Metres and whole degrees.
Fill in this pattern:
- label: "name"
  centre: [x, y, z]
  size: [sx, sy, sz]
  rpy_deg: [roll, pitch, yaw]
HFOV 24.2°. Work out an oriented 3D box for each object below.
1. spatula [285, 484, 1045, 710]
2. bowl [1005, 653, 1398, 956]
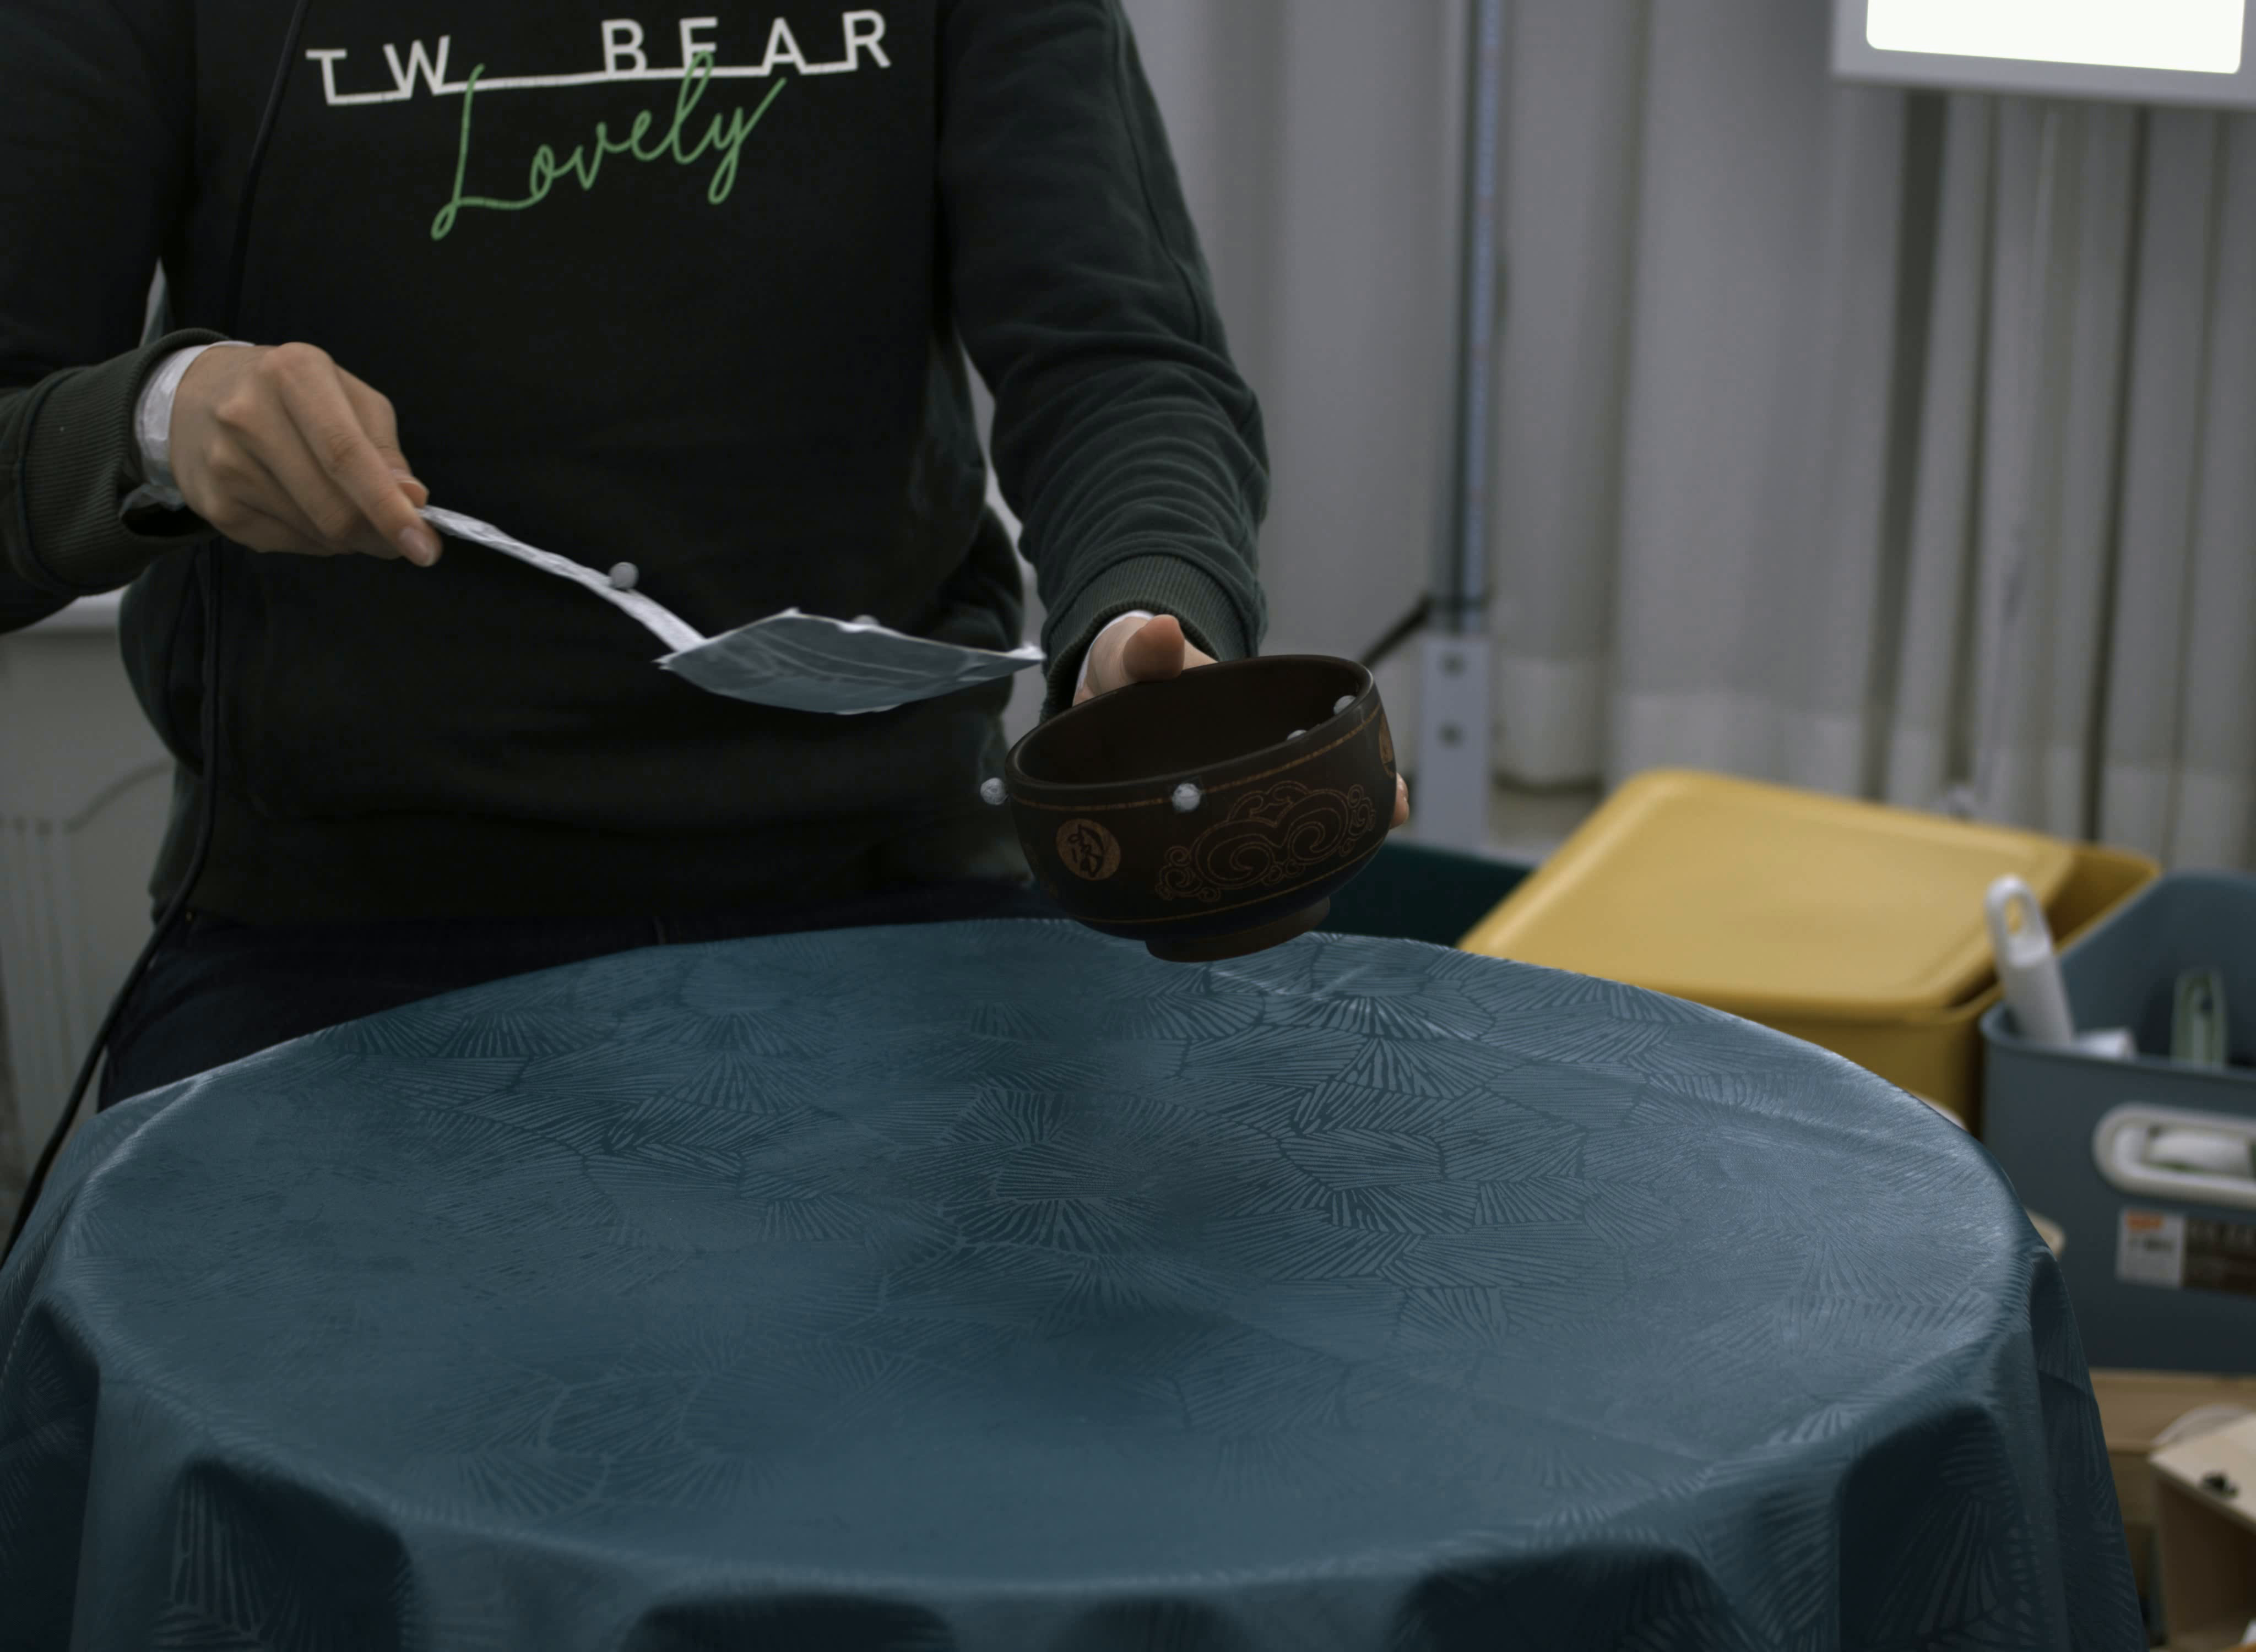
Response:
- label: "spatula"
  centre: [-0.165, -0.081, 1.606]
  size: [0.099, 0.045, 0.360]
  rpy_deg: [6, 11, -41]
- label: "bowl"
  centre: [0.026, -0.002, 1.598]
  size: [0.117, 0.070, 0.117]
  rpy_deg: [-11, 16, 4]
